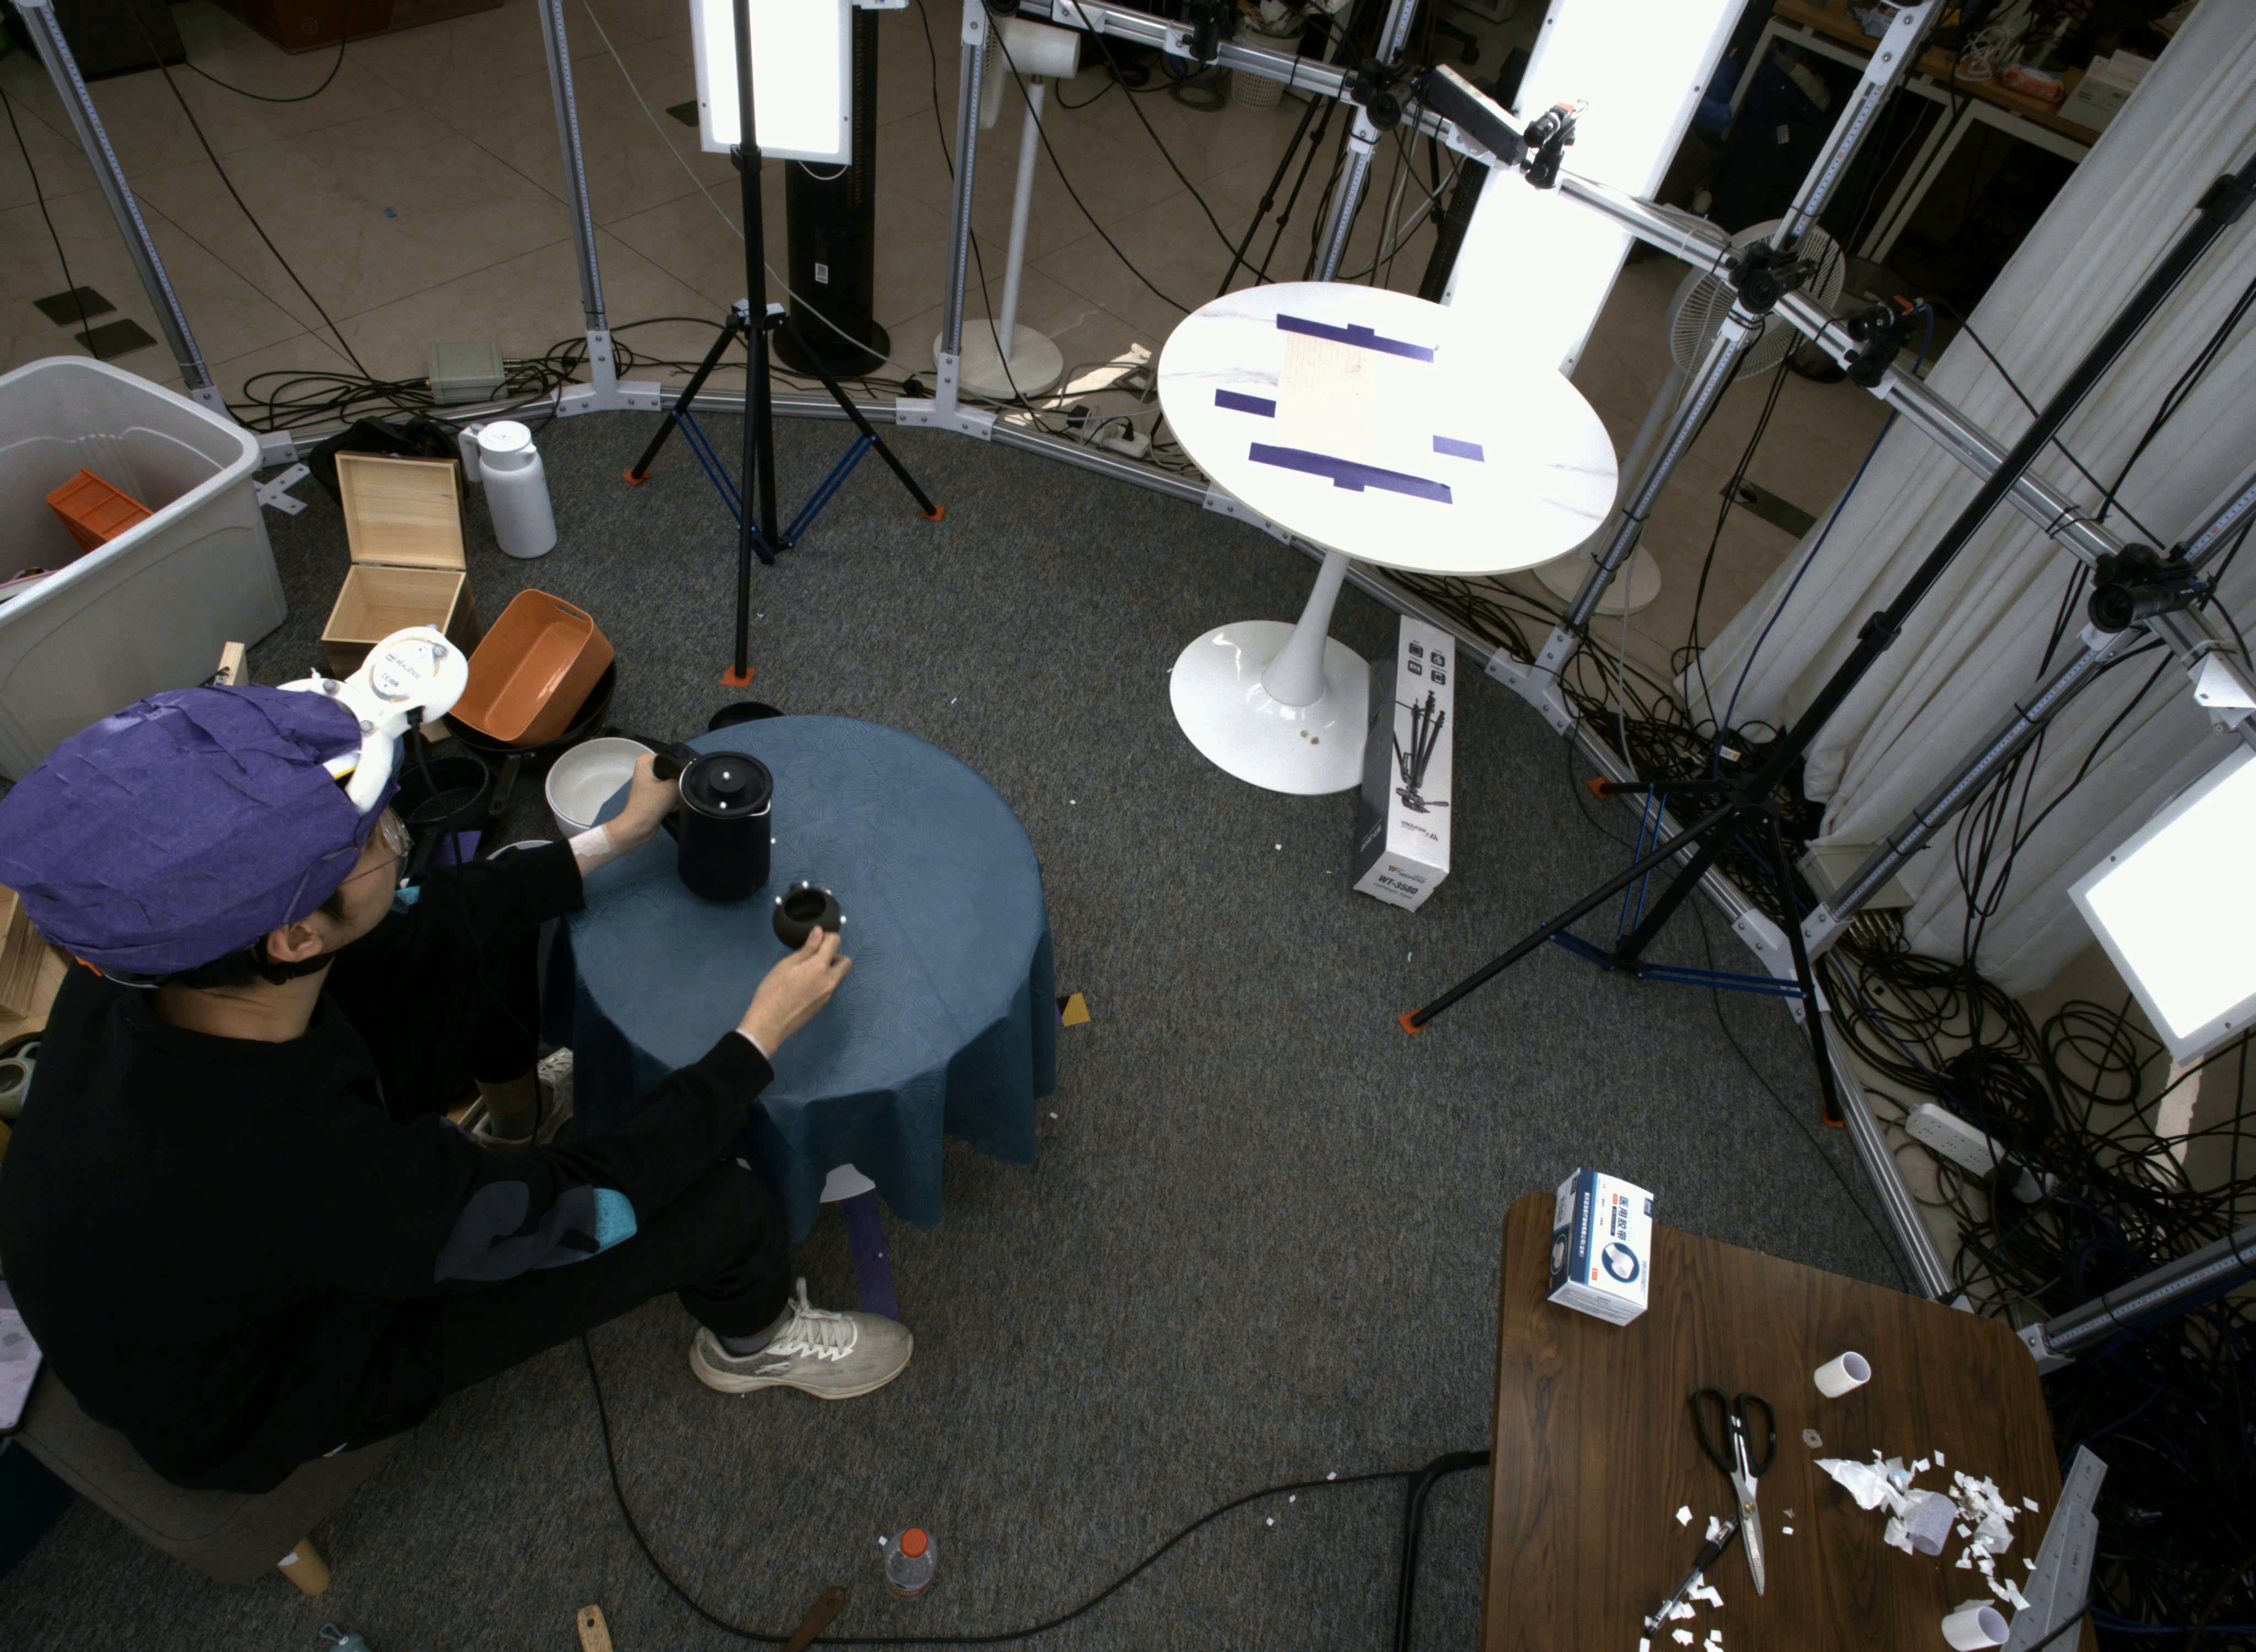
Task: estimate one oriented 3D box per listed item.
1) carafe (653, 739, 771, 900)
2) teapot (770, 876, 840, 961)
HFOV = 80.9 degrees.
[{"bbox_3d":[-0.514,-0.018,1.588,0.169,0.176,0.114,32,50,8],"label":"carafe"},{"bbox_3d":[-0.384,0.111,1.553,0.083,0.054,0.110,-16,50,-18],"label":"teapot"}]
